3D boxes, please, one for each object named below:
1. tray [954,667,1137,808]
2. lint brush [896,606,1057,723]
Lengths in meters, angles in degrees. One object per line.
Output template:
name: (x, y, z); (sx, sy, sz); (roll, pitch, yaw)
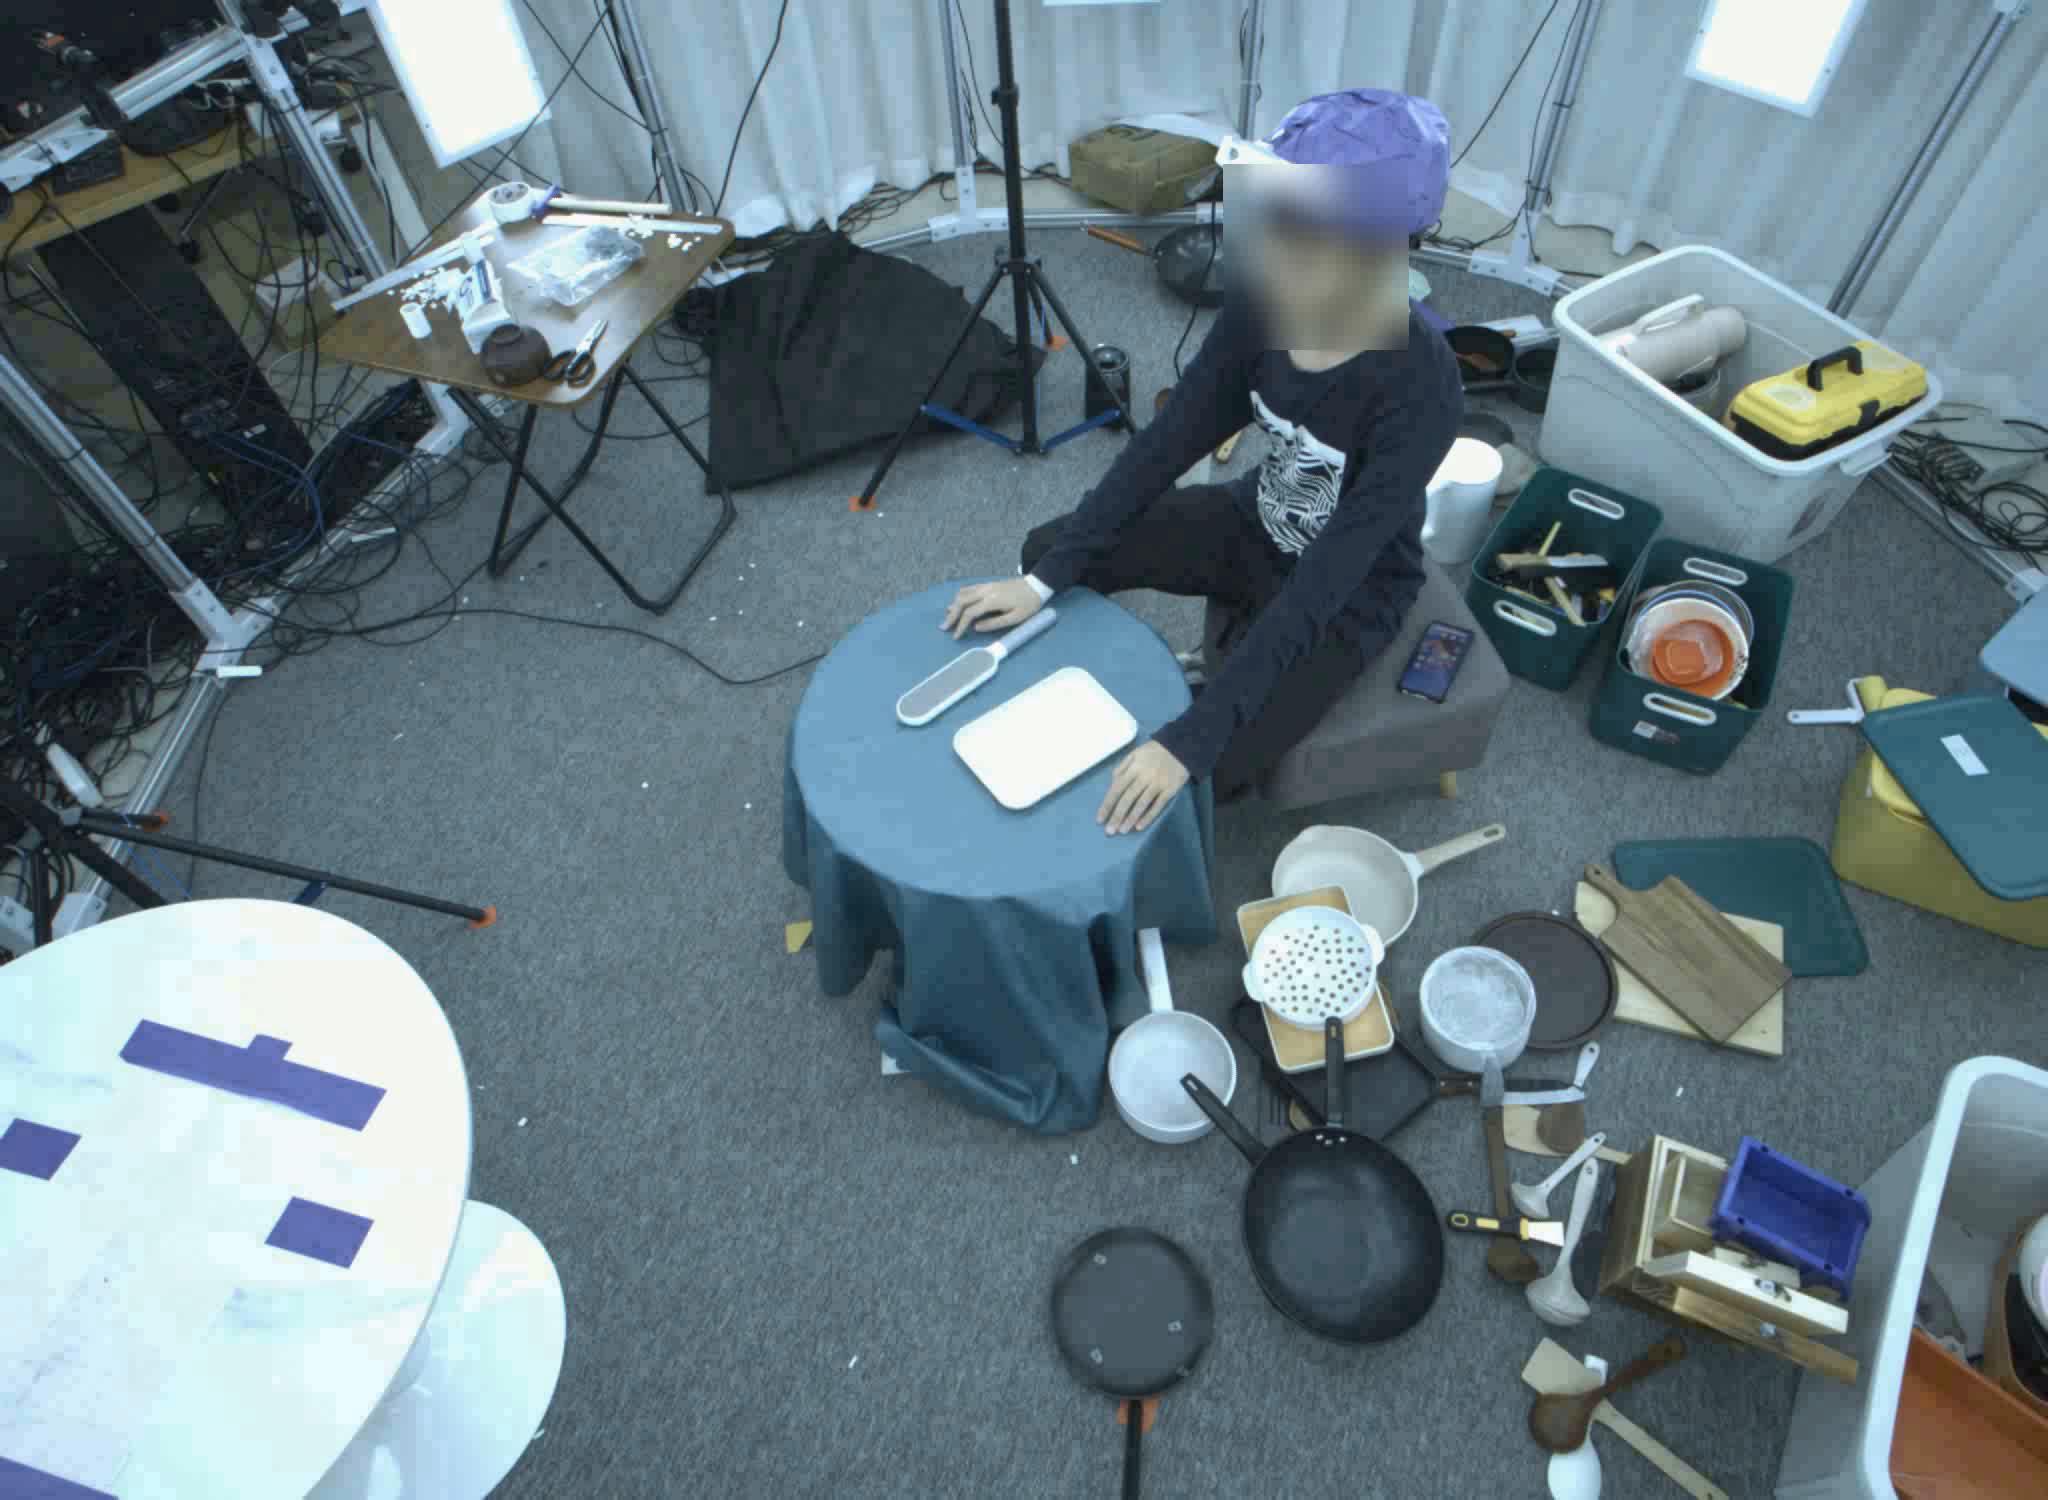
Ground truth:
tray: (0.032, -0.020, 1.797); (0.241, 0.017, 0.168); (-32, 59, -20)
lint brush: (-0.068, -0.134, 1.876); (0.311, 0.021, 0.059); (-37, 56, -22)
